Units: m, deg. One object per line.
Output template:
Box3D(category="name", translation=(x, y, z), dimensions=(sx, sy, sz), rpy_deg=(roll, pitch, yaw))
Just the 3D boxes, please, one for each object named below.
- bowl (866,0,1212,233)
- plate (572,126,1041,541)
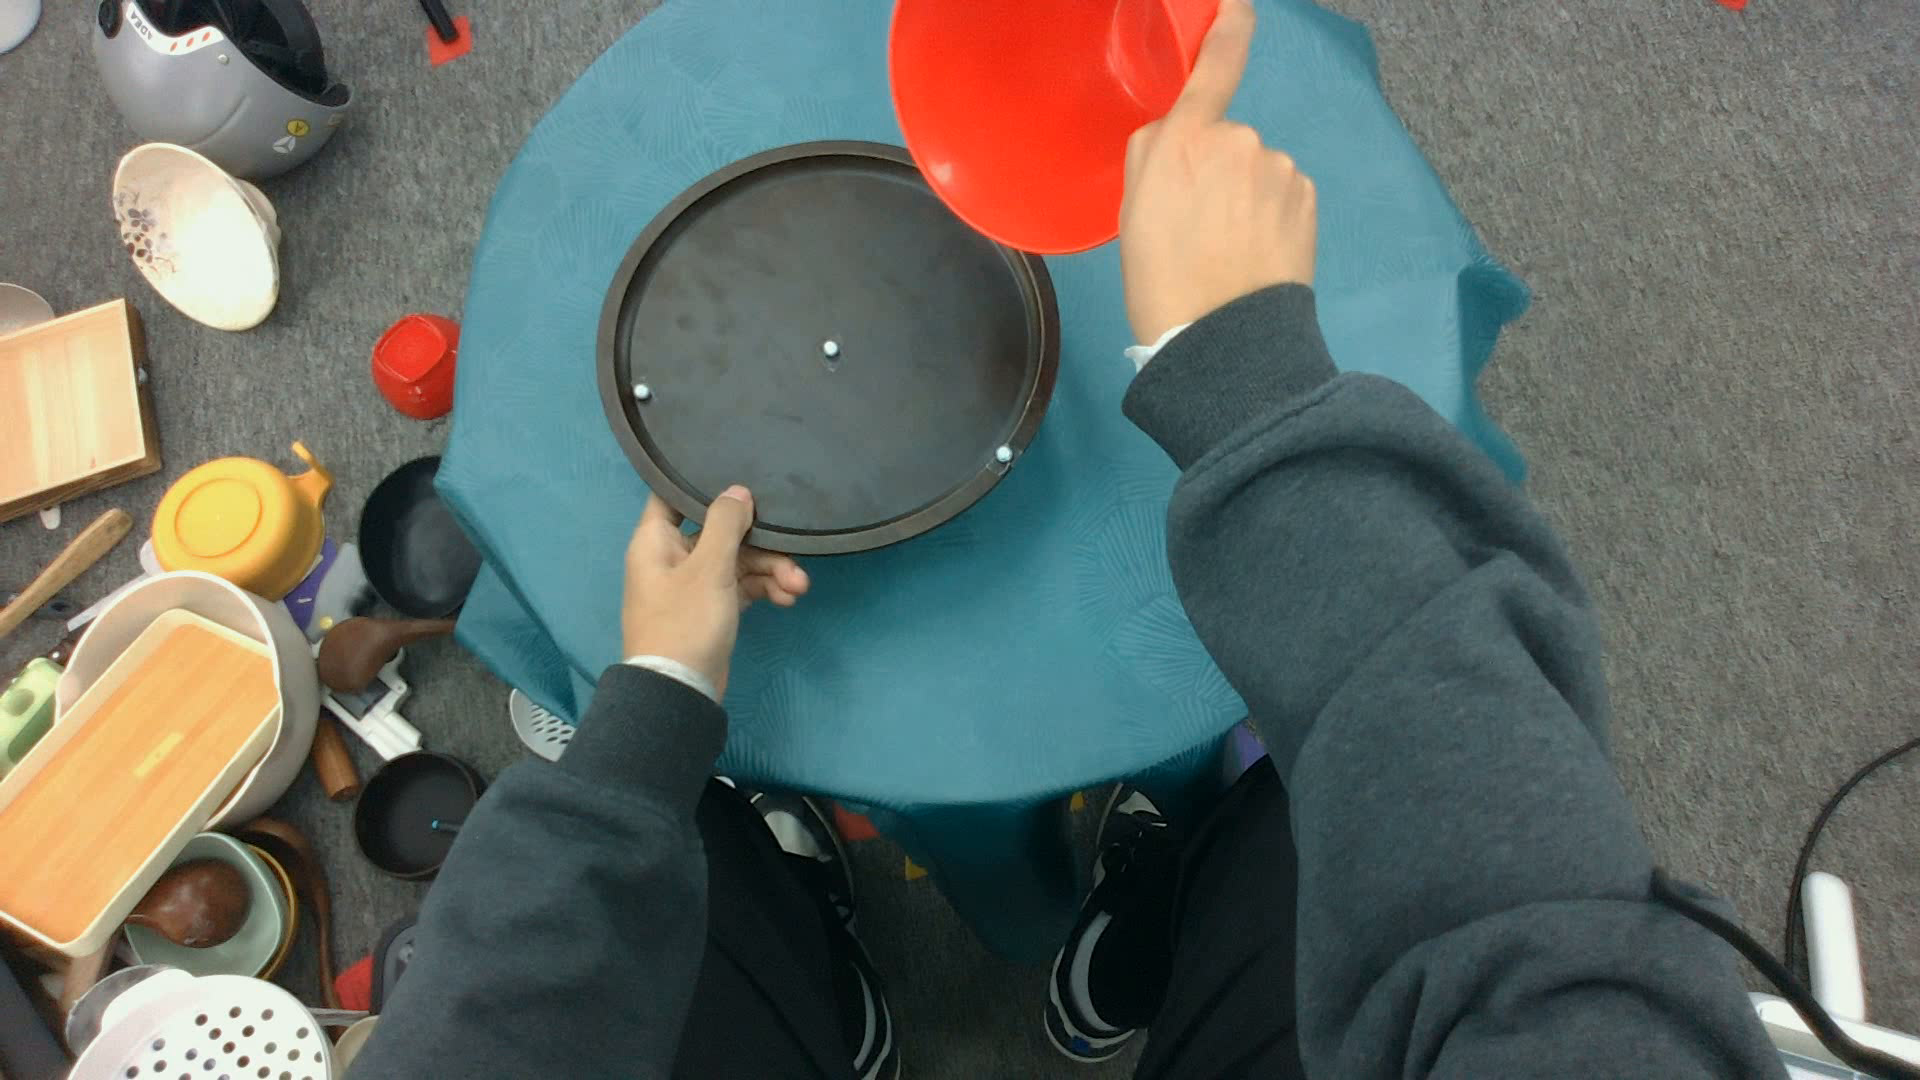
Box3D(category="bowl", translation=(0.046, -0.221, 0.618), dimensions=(0.105, 0.147, 0.148), rpy_deg=(-31, 69, -38))
Box3D(category="plate", translation=(-0.083, -0.116, 0.750), dimensions=(0.255, 0.029, 0.255), rpy_deg=(0, 70, 0))
